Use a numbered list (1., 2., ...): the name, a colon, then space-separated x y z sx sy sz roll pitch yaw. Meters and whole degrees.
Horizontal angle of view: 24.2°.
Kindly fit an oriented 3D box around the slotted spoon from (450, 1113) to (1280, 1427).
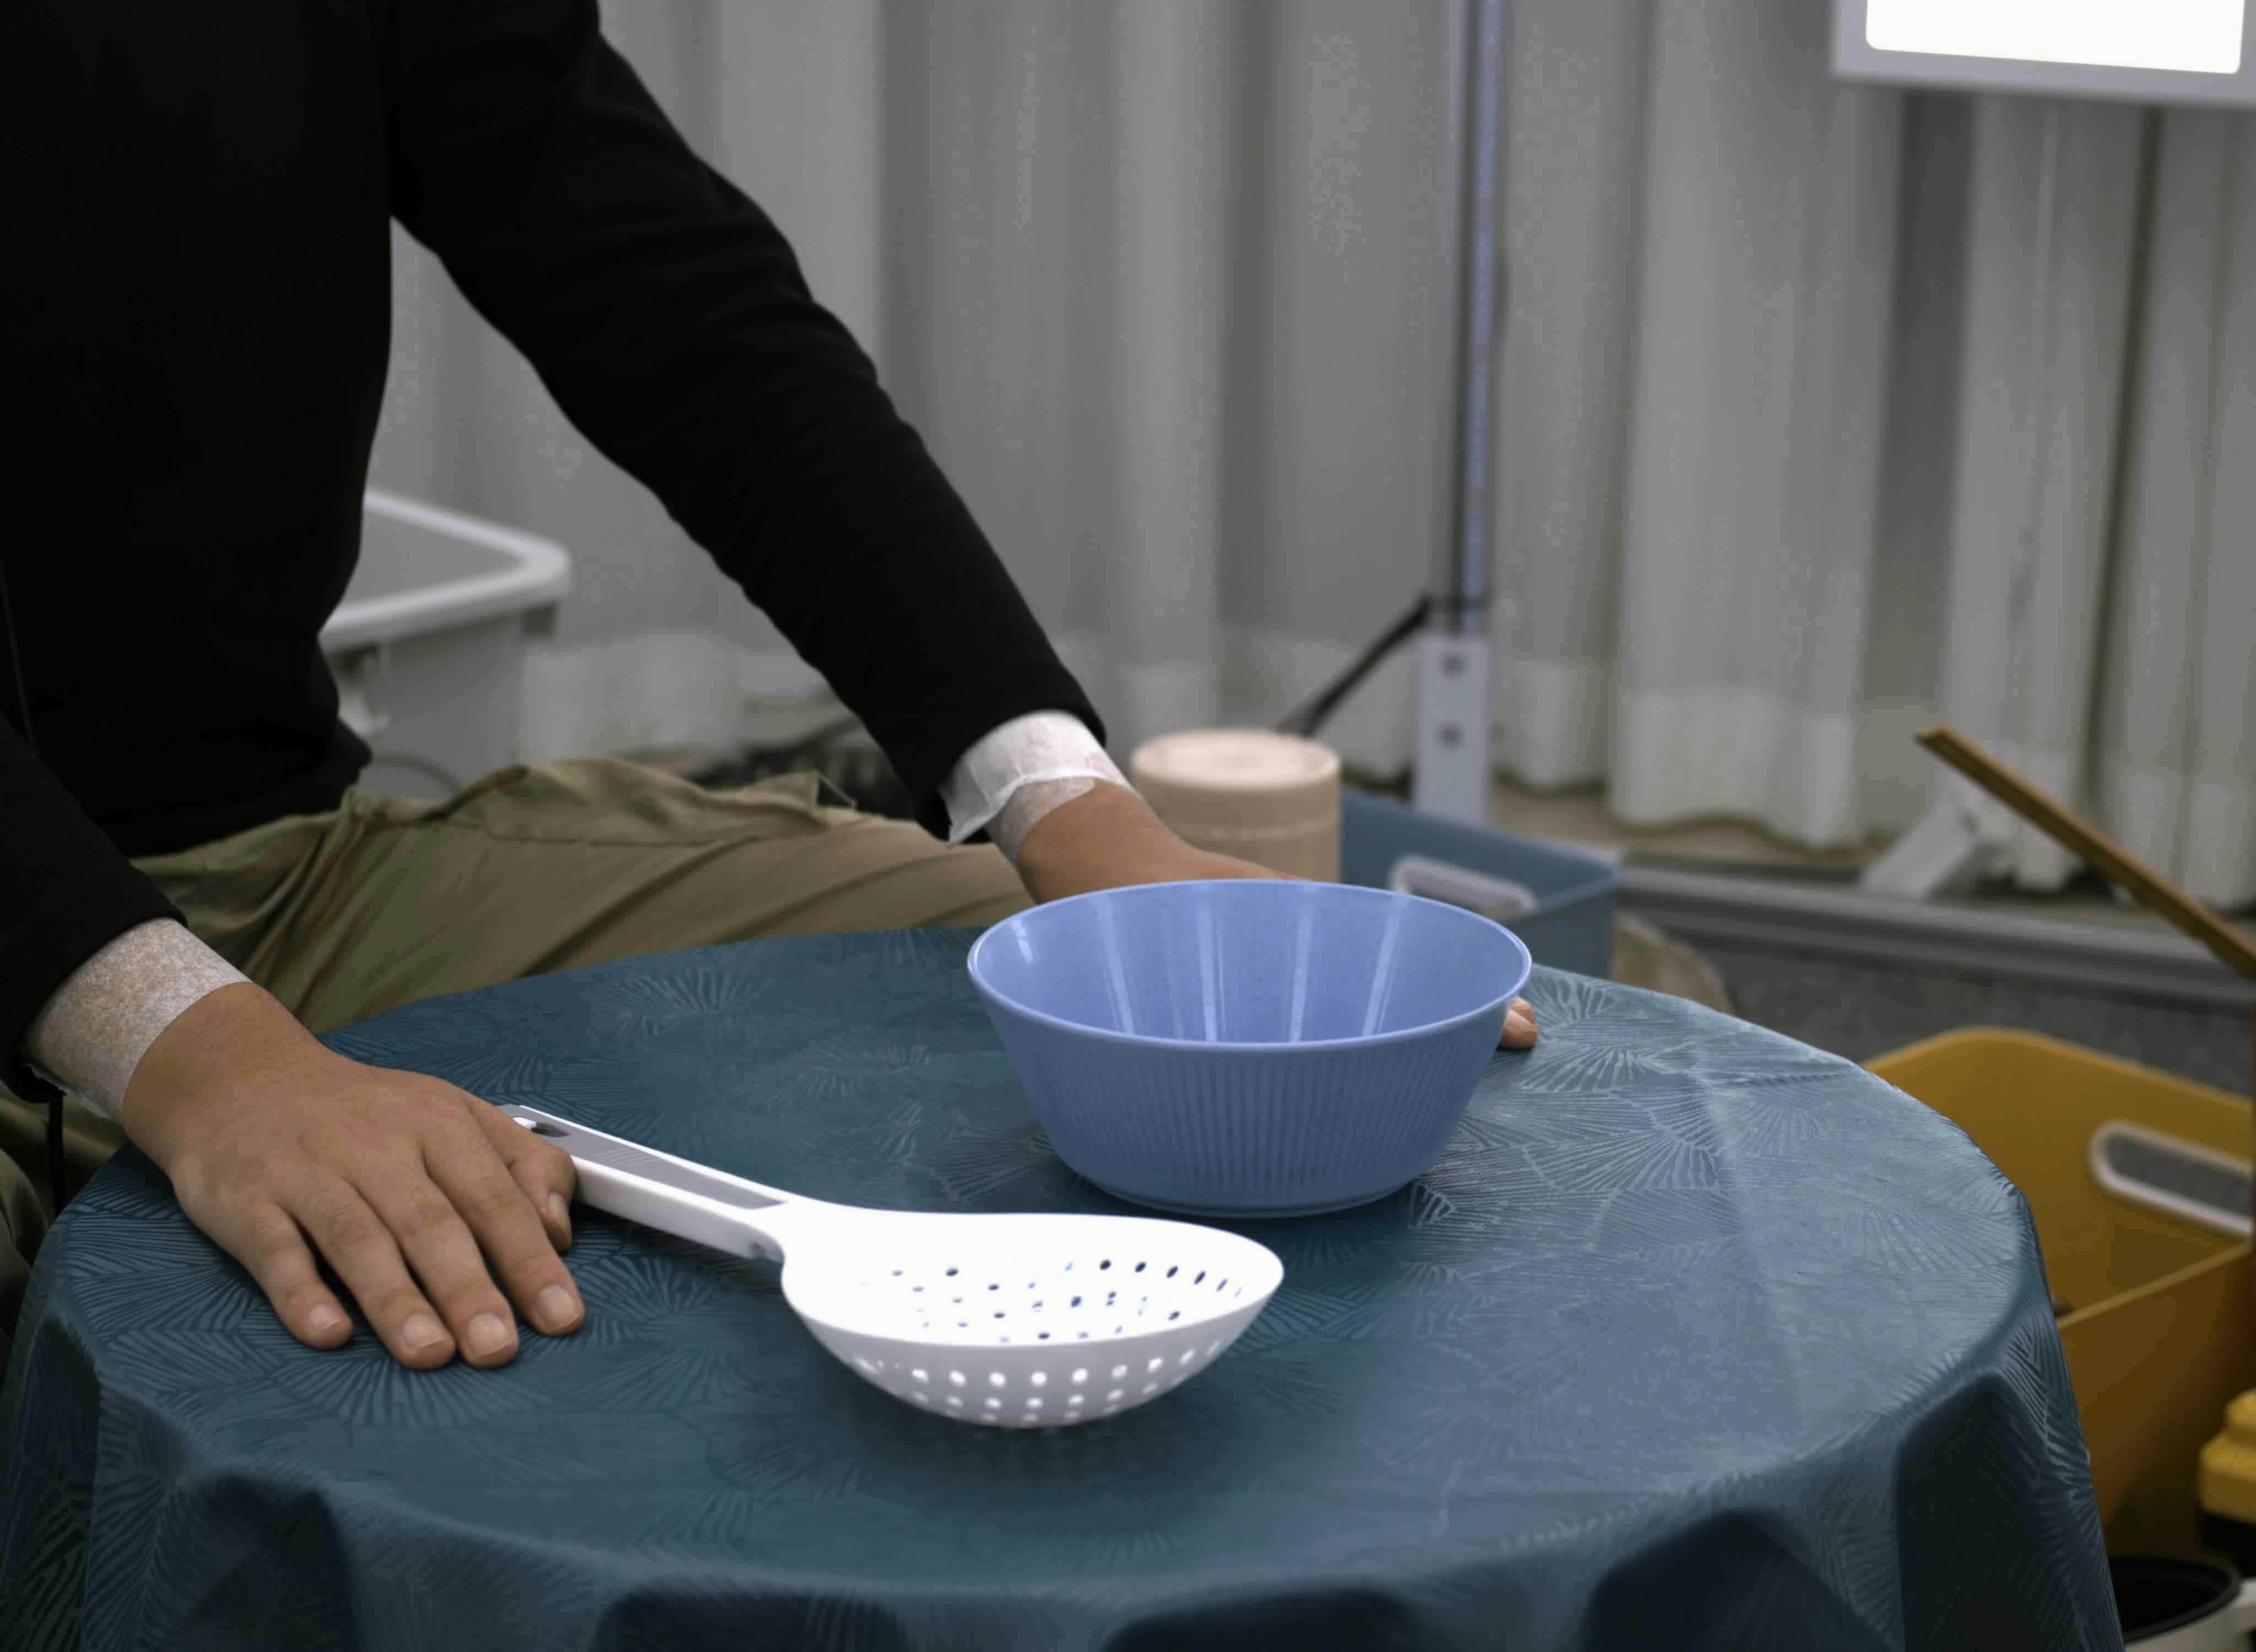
1. slotted spoon: -0.094 0.117 1.514 0.137 0.046 0.345 -11 18 -38

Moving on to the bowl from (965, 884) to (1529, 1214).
1. bowl: 0.037 0.071 1.639 0.175 0.071 0.175 0 15 1
